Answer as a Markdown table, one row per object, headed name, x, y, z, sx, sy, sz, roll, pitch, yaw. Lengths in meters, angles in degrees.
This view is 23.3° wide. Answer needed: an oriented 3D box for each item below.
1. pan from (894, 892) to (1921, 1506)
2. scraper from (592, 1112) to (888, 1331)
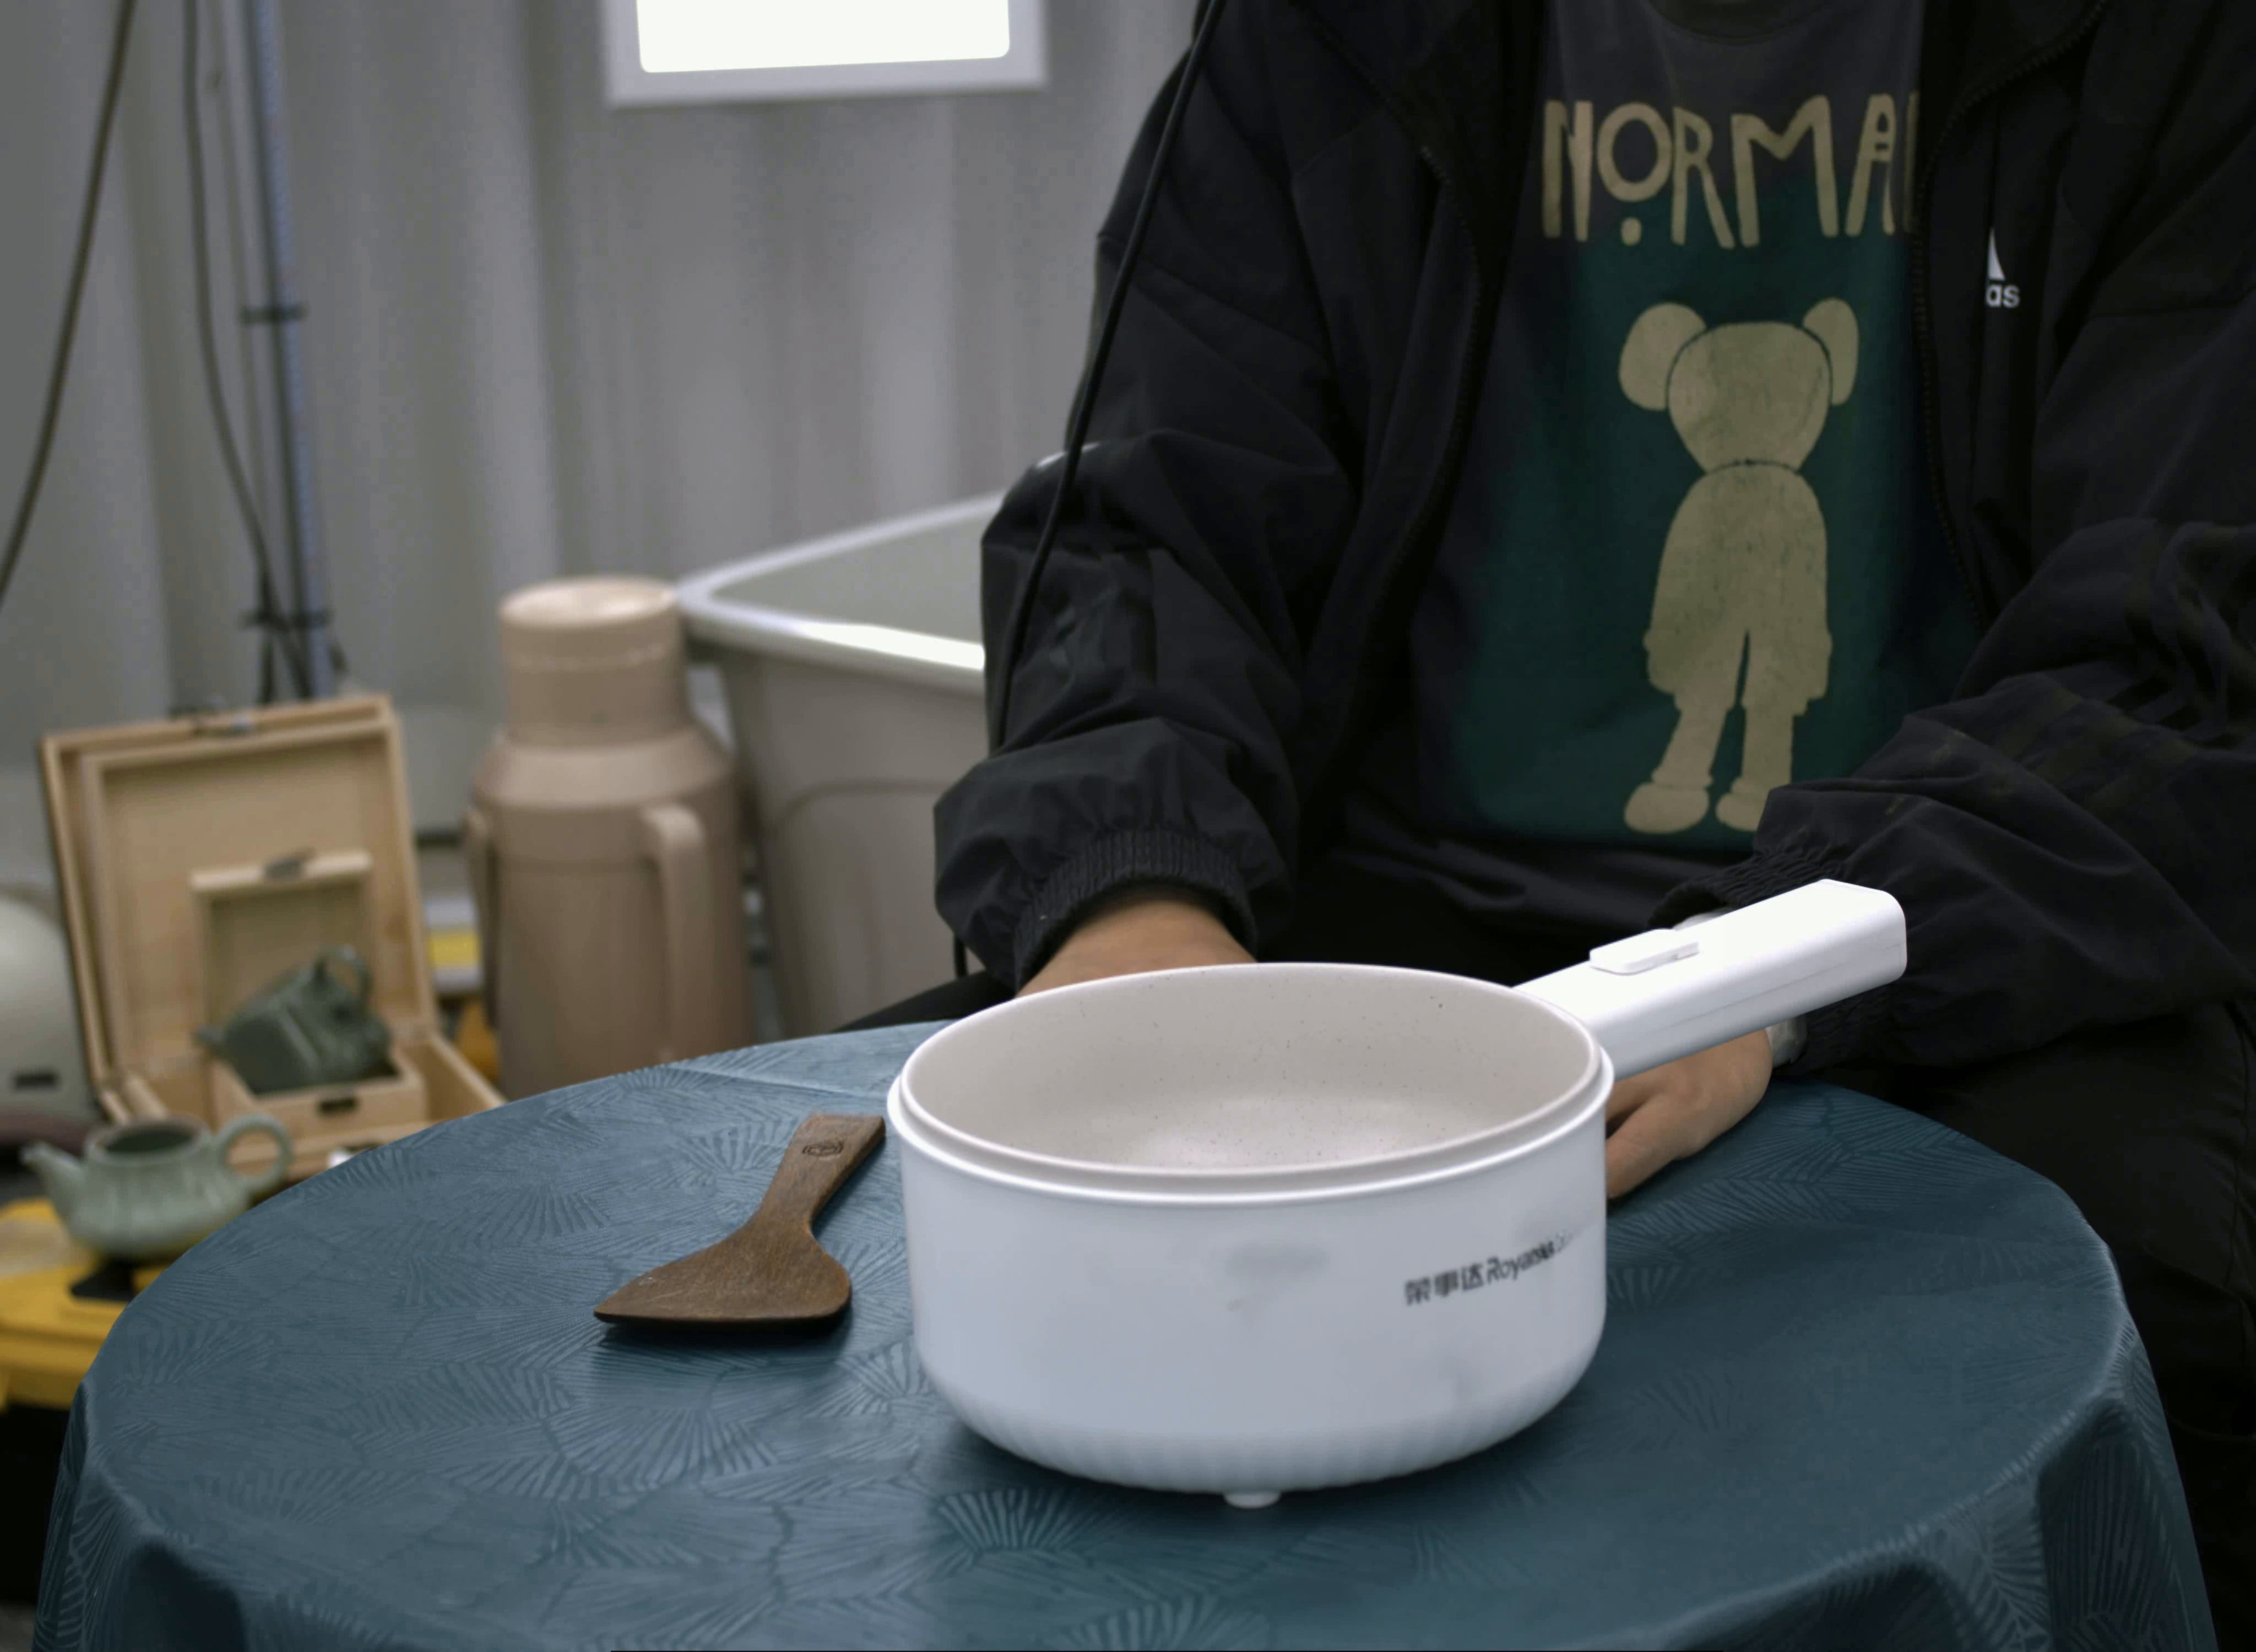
| name | x | y | z | sx | sy | sz | roll | pitch | yaw |
| --- | --- | --- | --- | --- | --- | --- | --- | --- | --- |
| pan | 0.094 | 0.099 | 1.566 | 0.353 | 0.102 | 0.202 | -13 | 18 | -39 |
| scraper | -0.107 | 0.122 | 1.692 | 0.076 | 0.011 | 0.212 | 0 | 14 | 9 |
